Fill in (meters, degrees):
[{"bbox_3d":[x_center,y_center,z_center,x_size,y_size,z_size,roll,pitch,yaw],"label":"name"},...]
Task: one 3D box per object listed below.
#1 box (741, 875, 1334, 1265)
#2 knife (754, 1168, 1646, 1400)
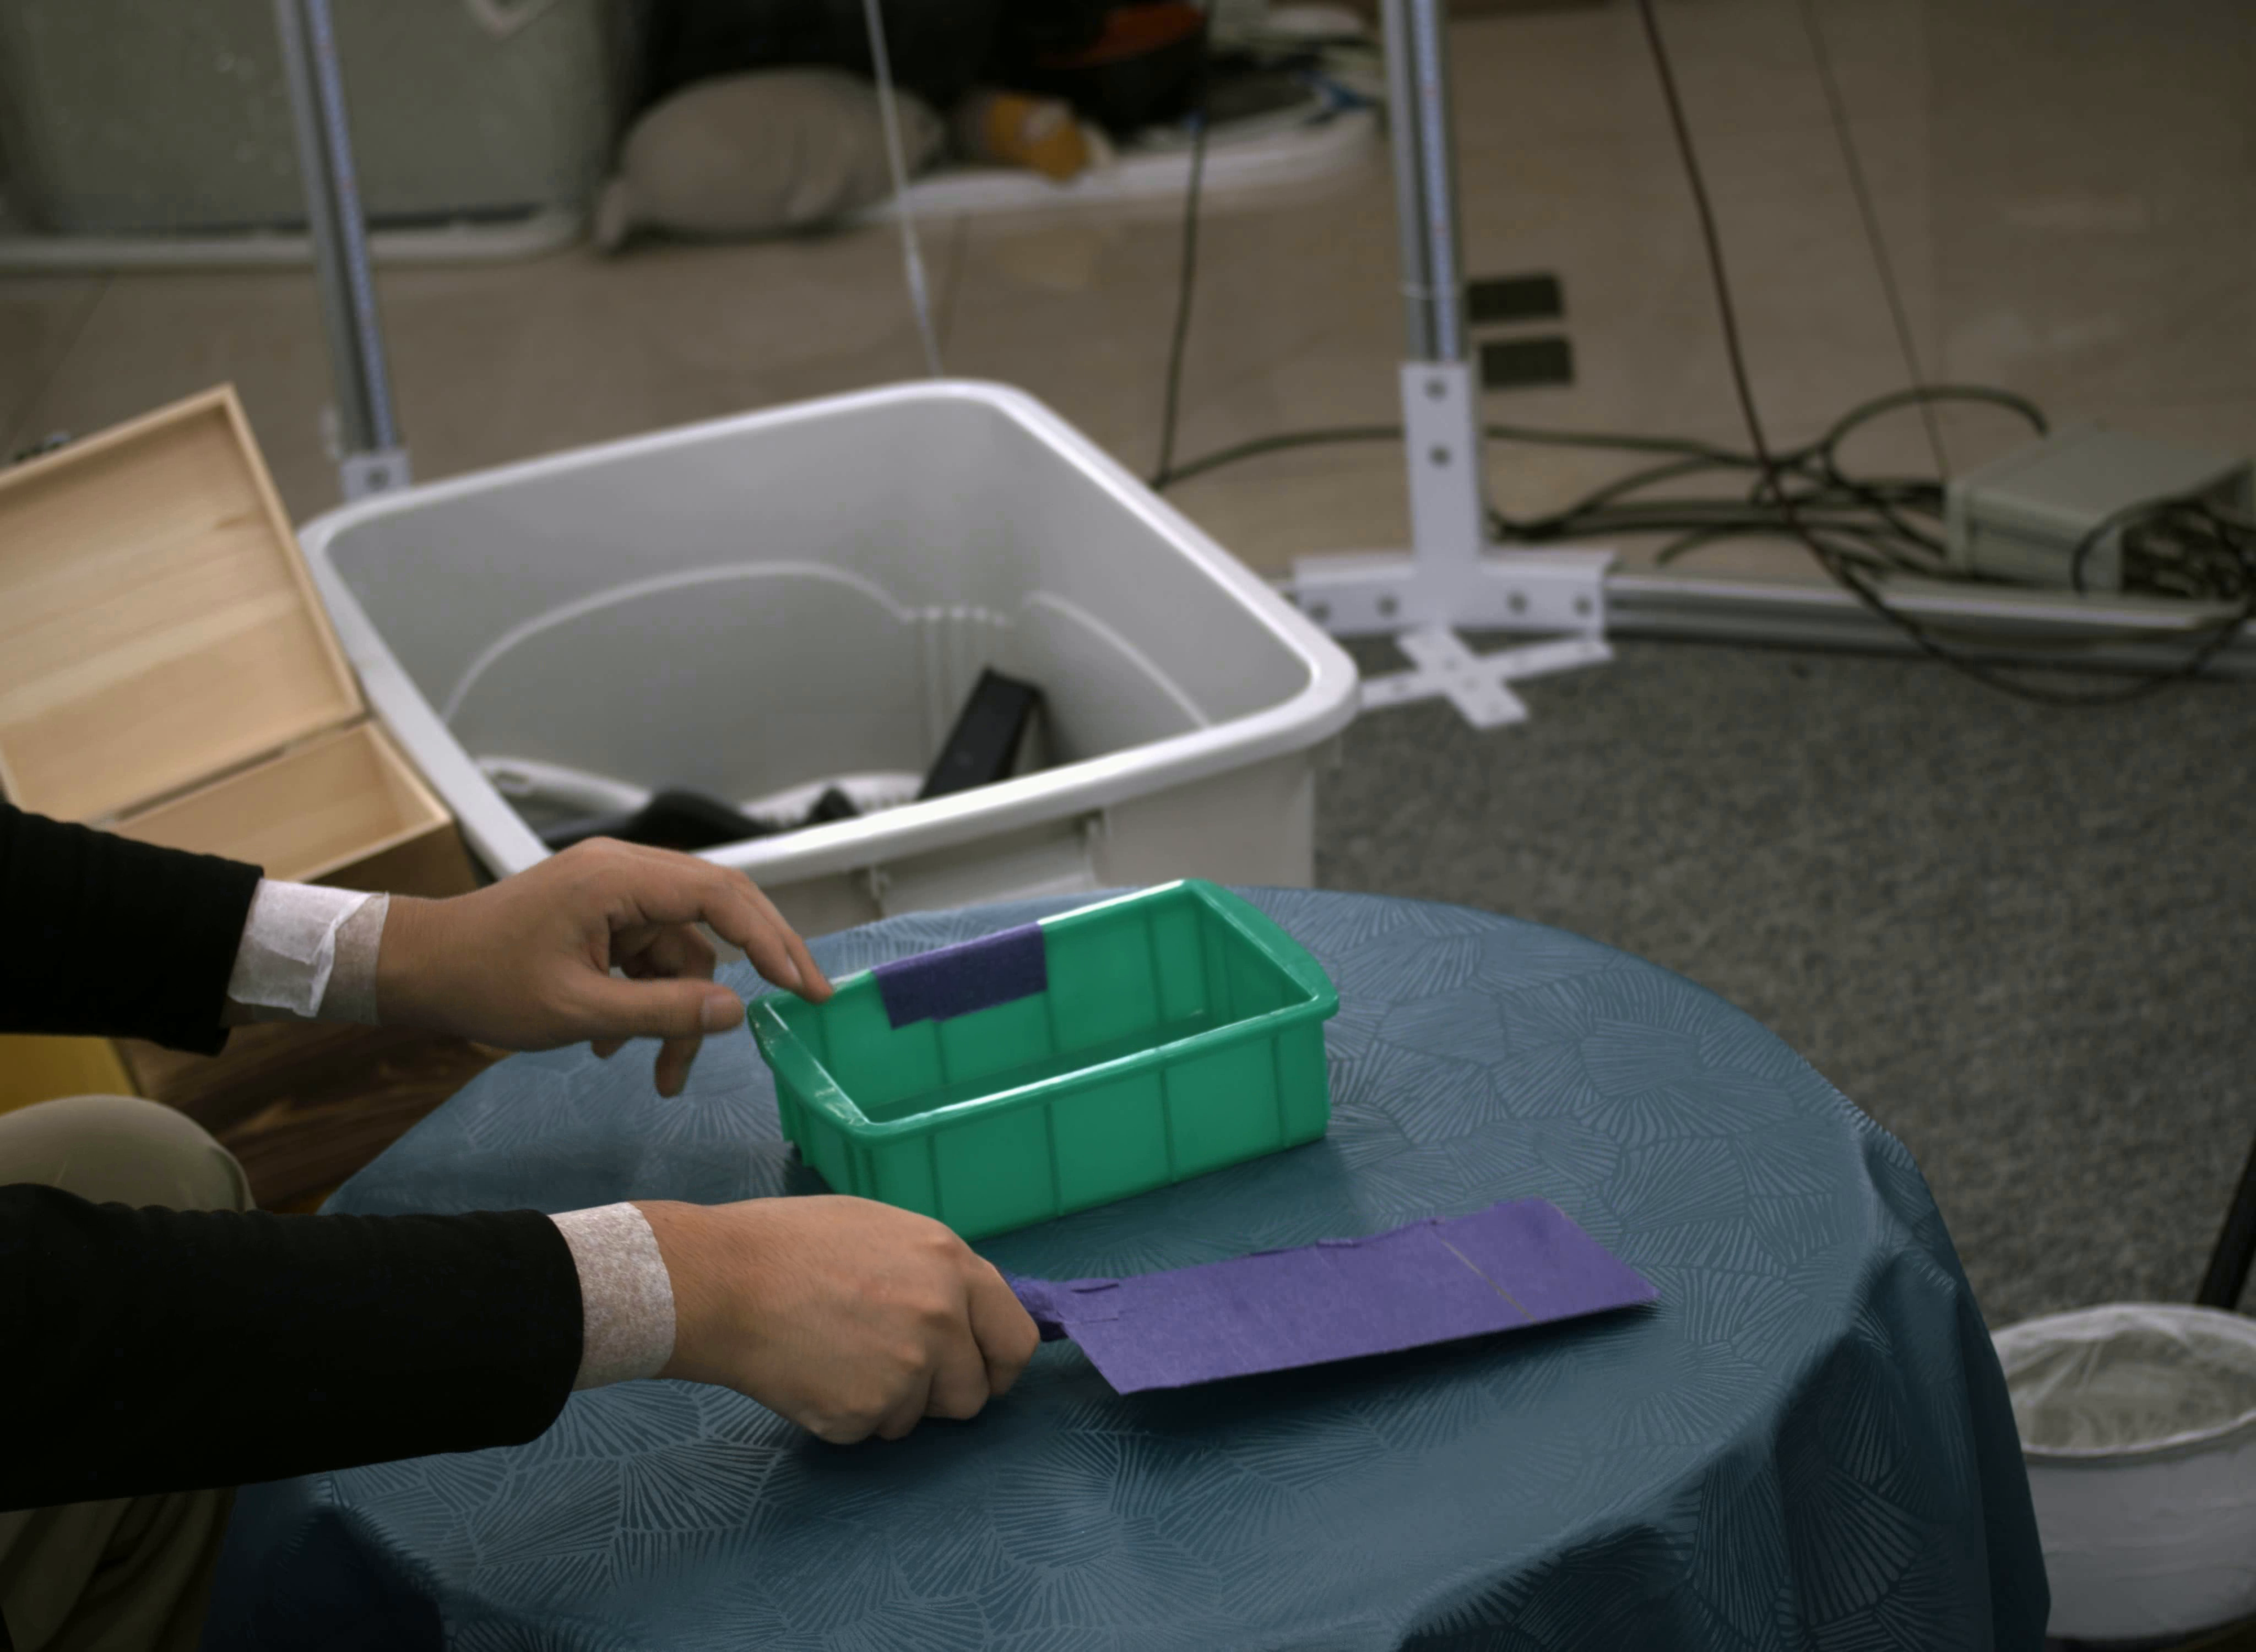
[{"bbox_3d":[-0.032,0.094,2.178,0.209,0.066,0.137,-17,26,-18],"label":"box"},{"bbox_3d":[0.029,0.168,2.011,0.314,0.032,0.102,-11,22,-18],"label":"knife"}]
